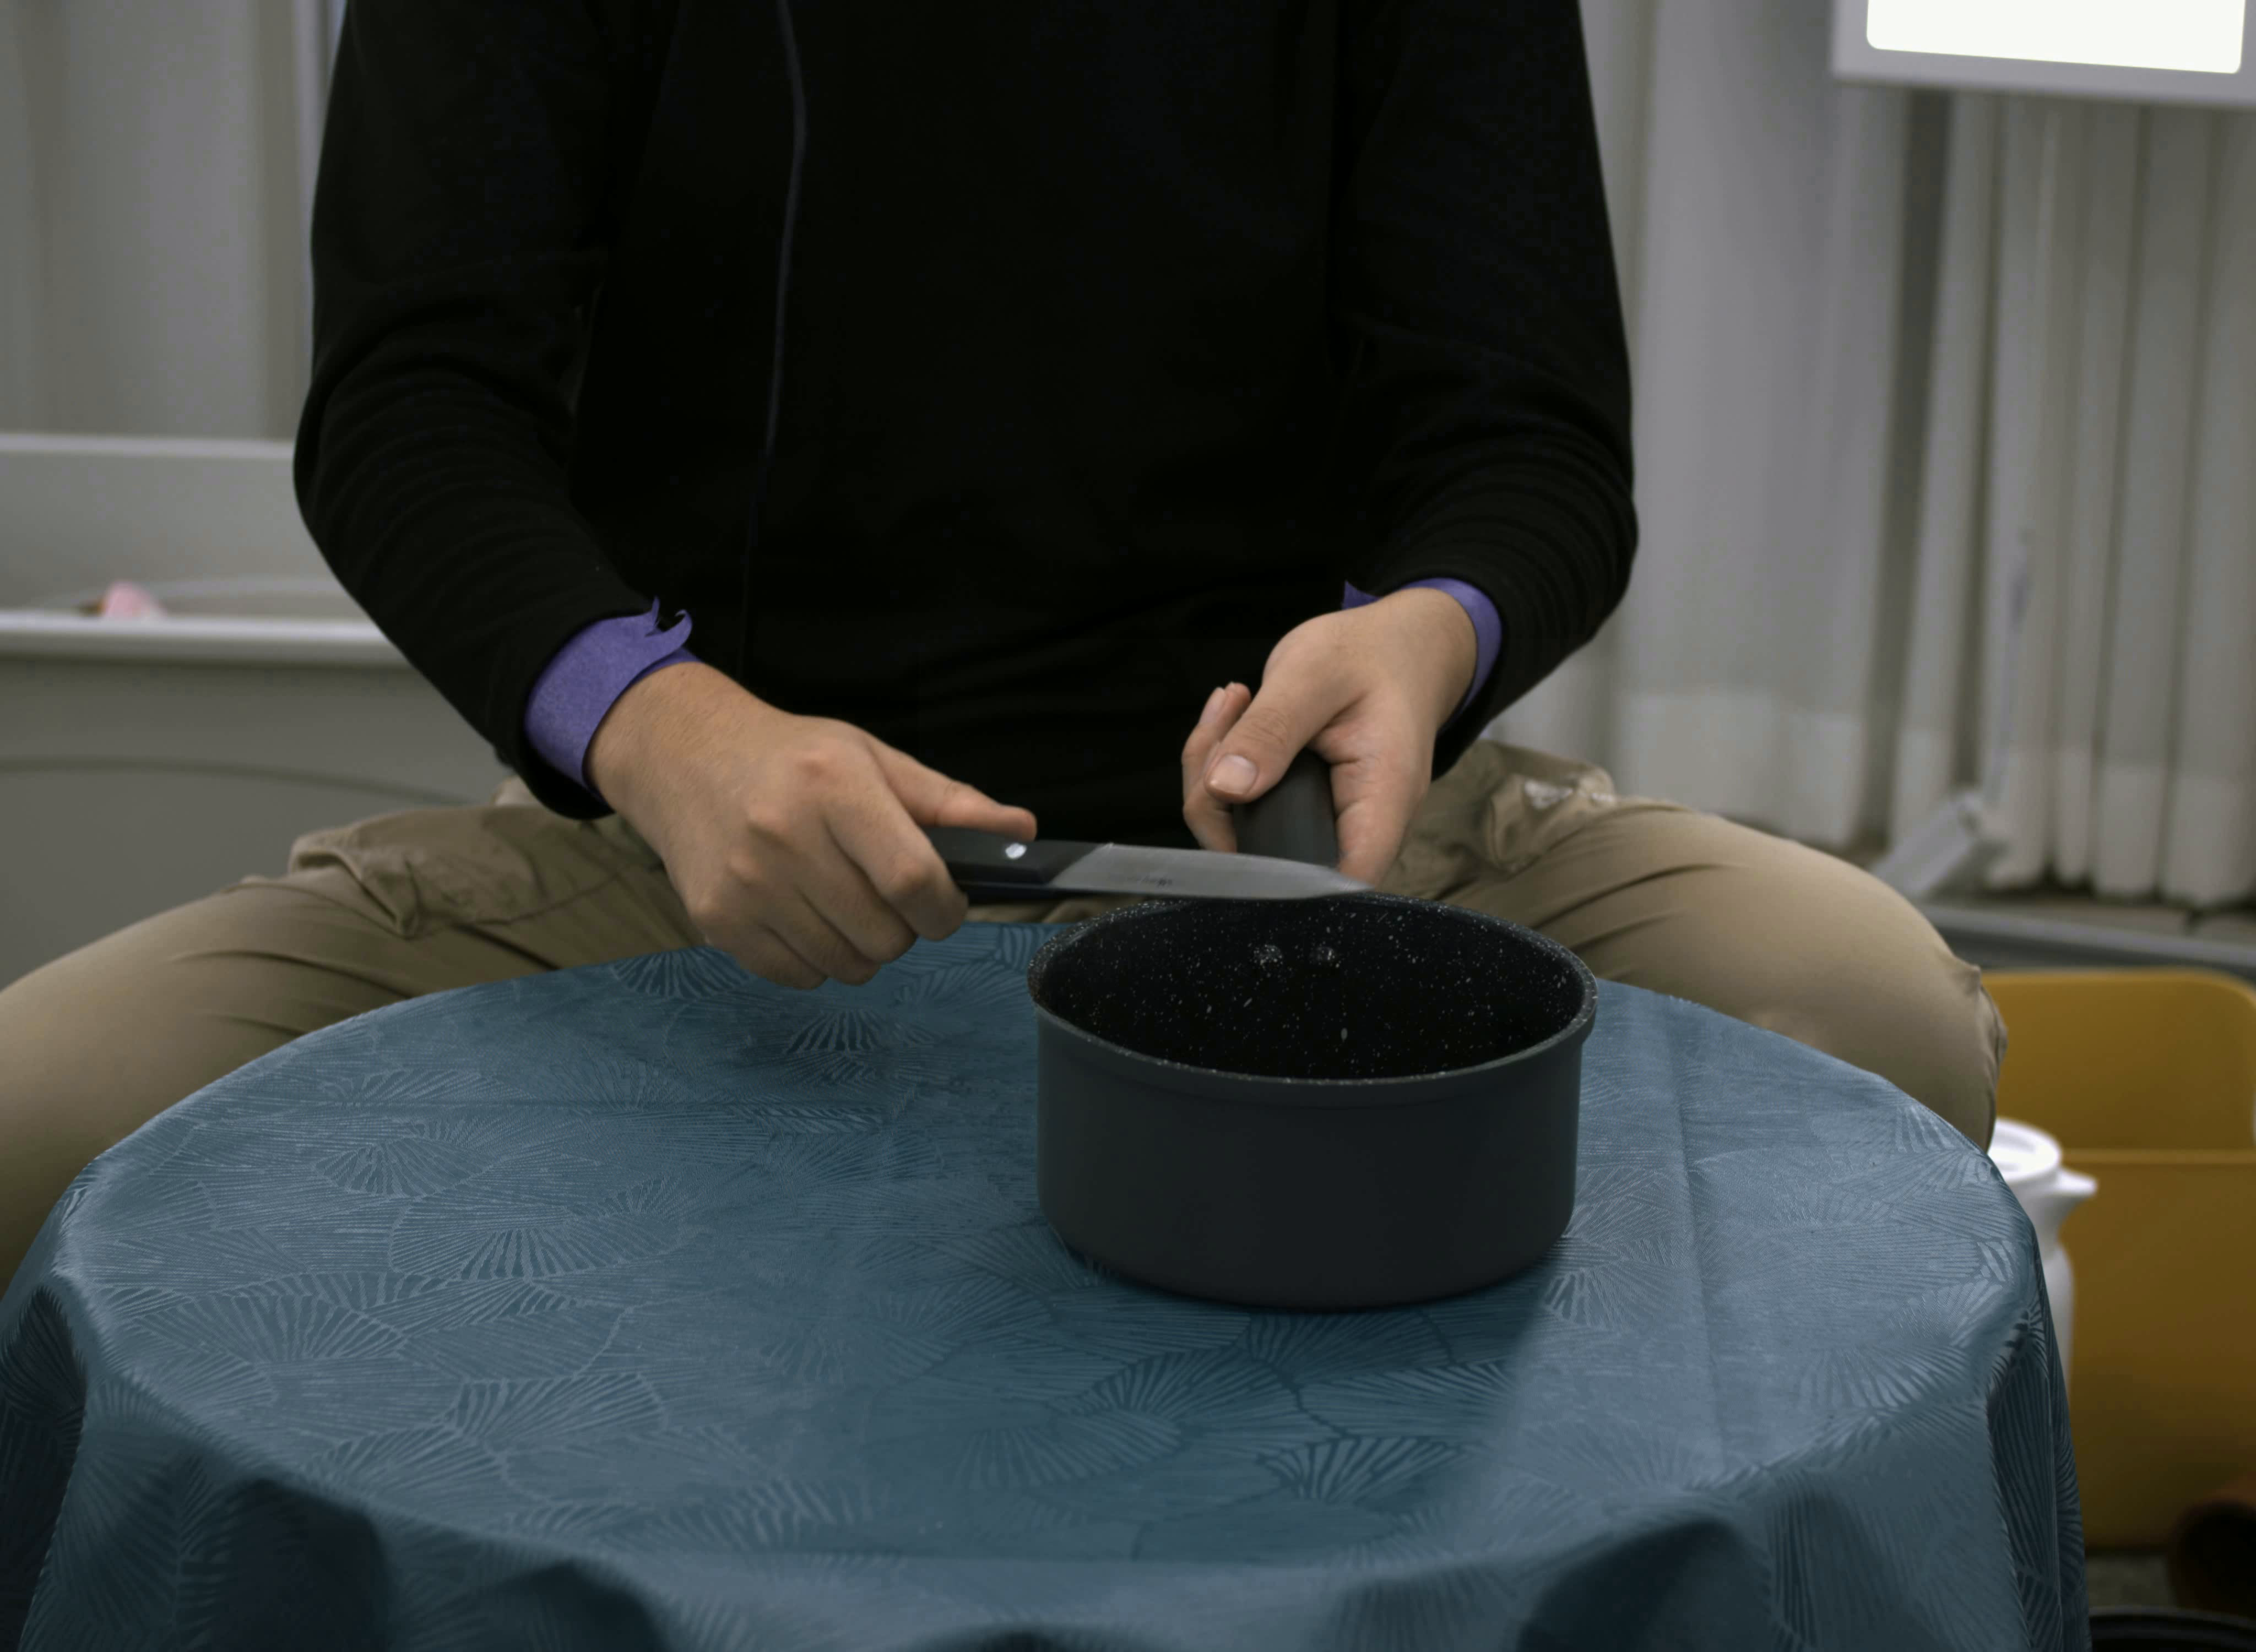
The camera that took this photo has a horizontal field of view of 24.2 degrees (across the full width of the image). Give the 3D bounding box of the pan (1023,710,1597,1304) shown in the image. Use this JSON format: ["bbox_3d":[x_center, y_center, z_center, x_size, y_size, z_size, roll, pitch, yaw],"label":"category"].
[{"bbox_3d":[0.056,0.053,1.656,0.171,0.087,0.327,2,19,1],"label":"pan"}]

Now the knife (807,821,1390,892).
[{"bbox_3d":[-0.014,0.012,1.669,0.235,0.016,0.024,3,40,39],"label":"knife"}]
